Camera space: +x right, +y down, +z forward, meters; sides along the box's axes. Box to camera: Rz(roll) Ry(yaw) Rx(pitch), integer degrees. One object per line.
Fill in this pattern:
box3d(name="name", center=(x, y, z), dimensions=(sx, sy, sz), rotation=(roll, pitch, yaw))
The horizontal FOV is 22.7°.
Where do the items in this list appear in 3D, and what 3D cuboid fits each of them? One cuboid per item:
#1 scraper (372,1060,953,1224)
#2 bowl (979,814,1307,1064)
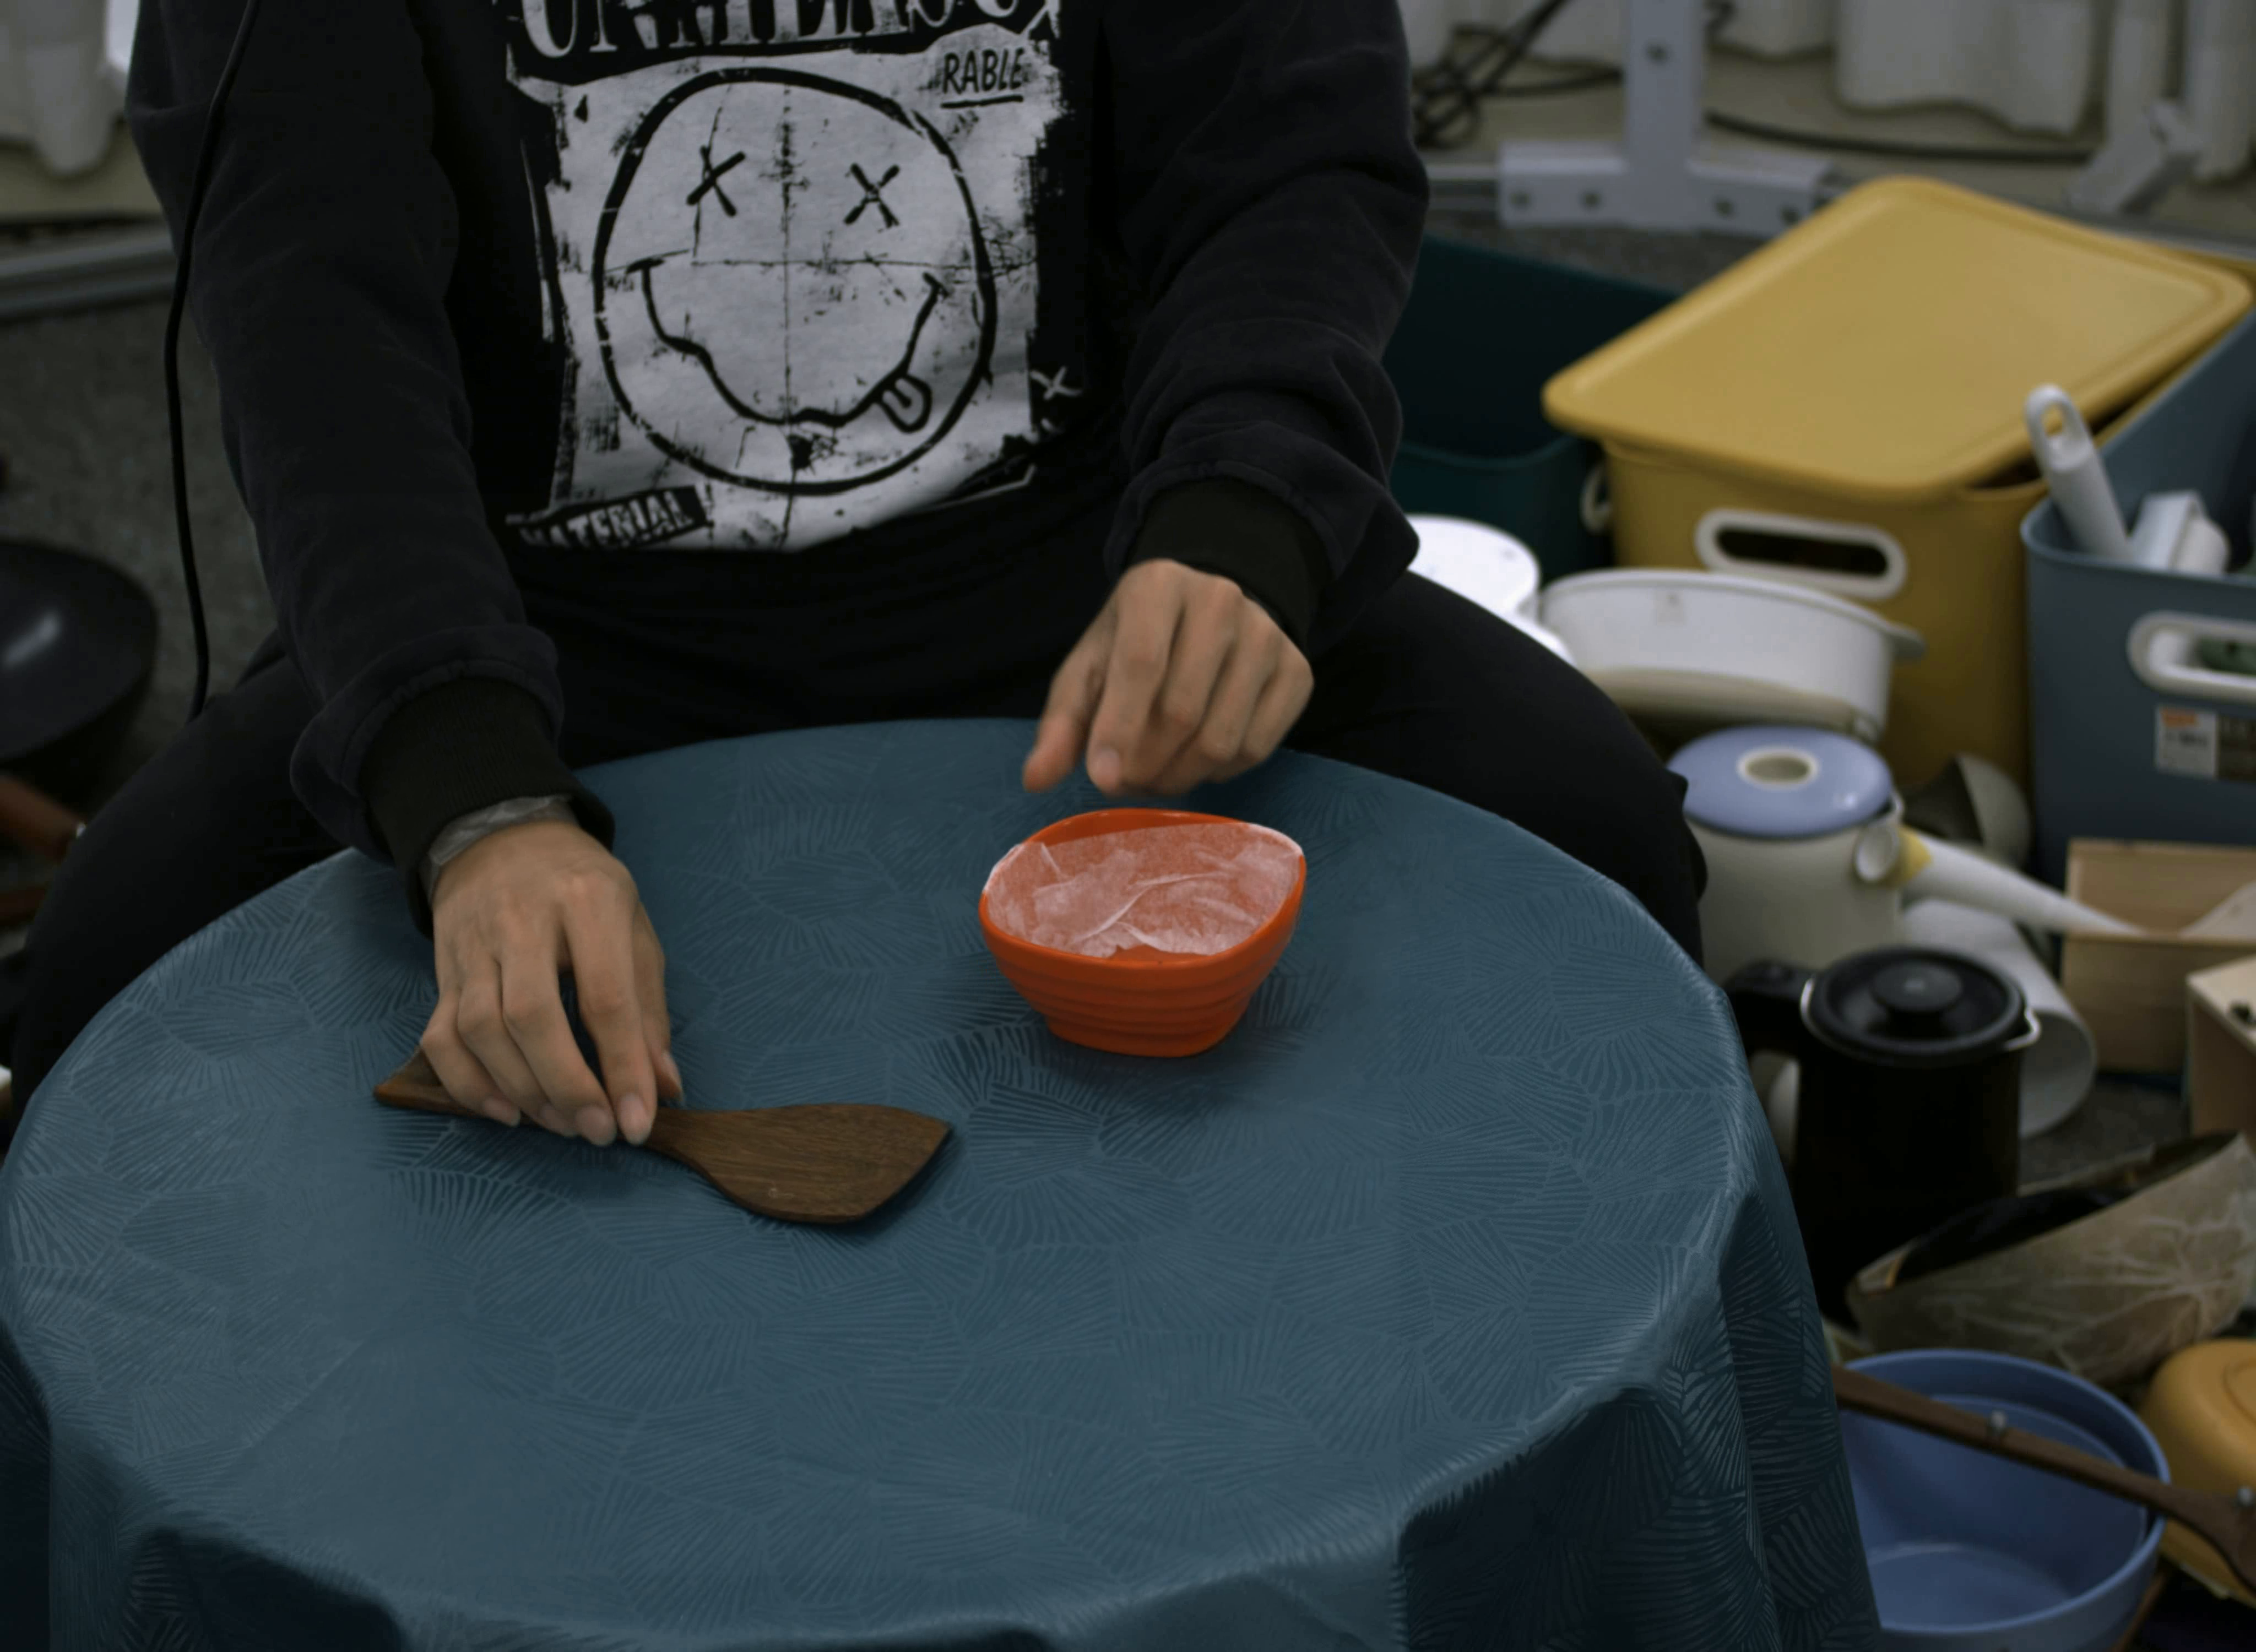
box3d(name="scraper", center=(-0.163, 0.103, 1.906), dimensions=(0.210, 0.011, 0.077), rotation=(9, 28, 23))
box3d(name="bowl", center=(0.007, 0.044, 1.960), dimensions=(0.118, 0.051, 0.121), rotation=(-3, 28, 2))
